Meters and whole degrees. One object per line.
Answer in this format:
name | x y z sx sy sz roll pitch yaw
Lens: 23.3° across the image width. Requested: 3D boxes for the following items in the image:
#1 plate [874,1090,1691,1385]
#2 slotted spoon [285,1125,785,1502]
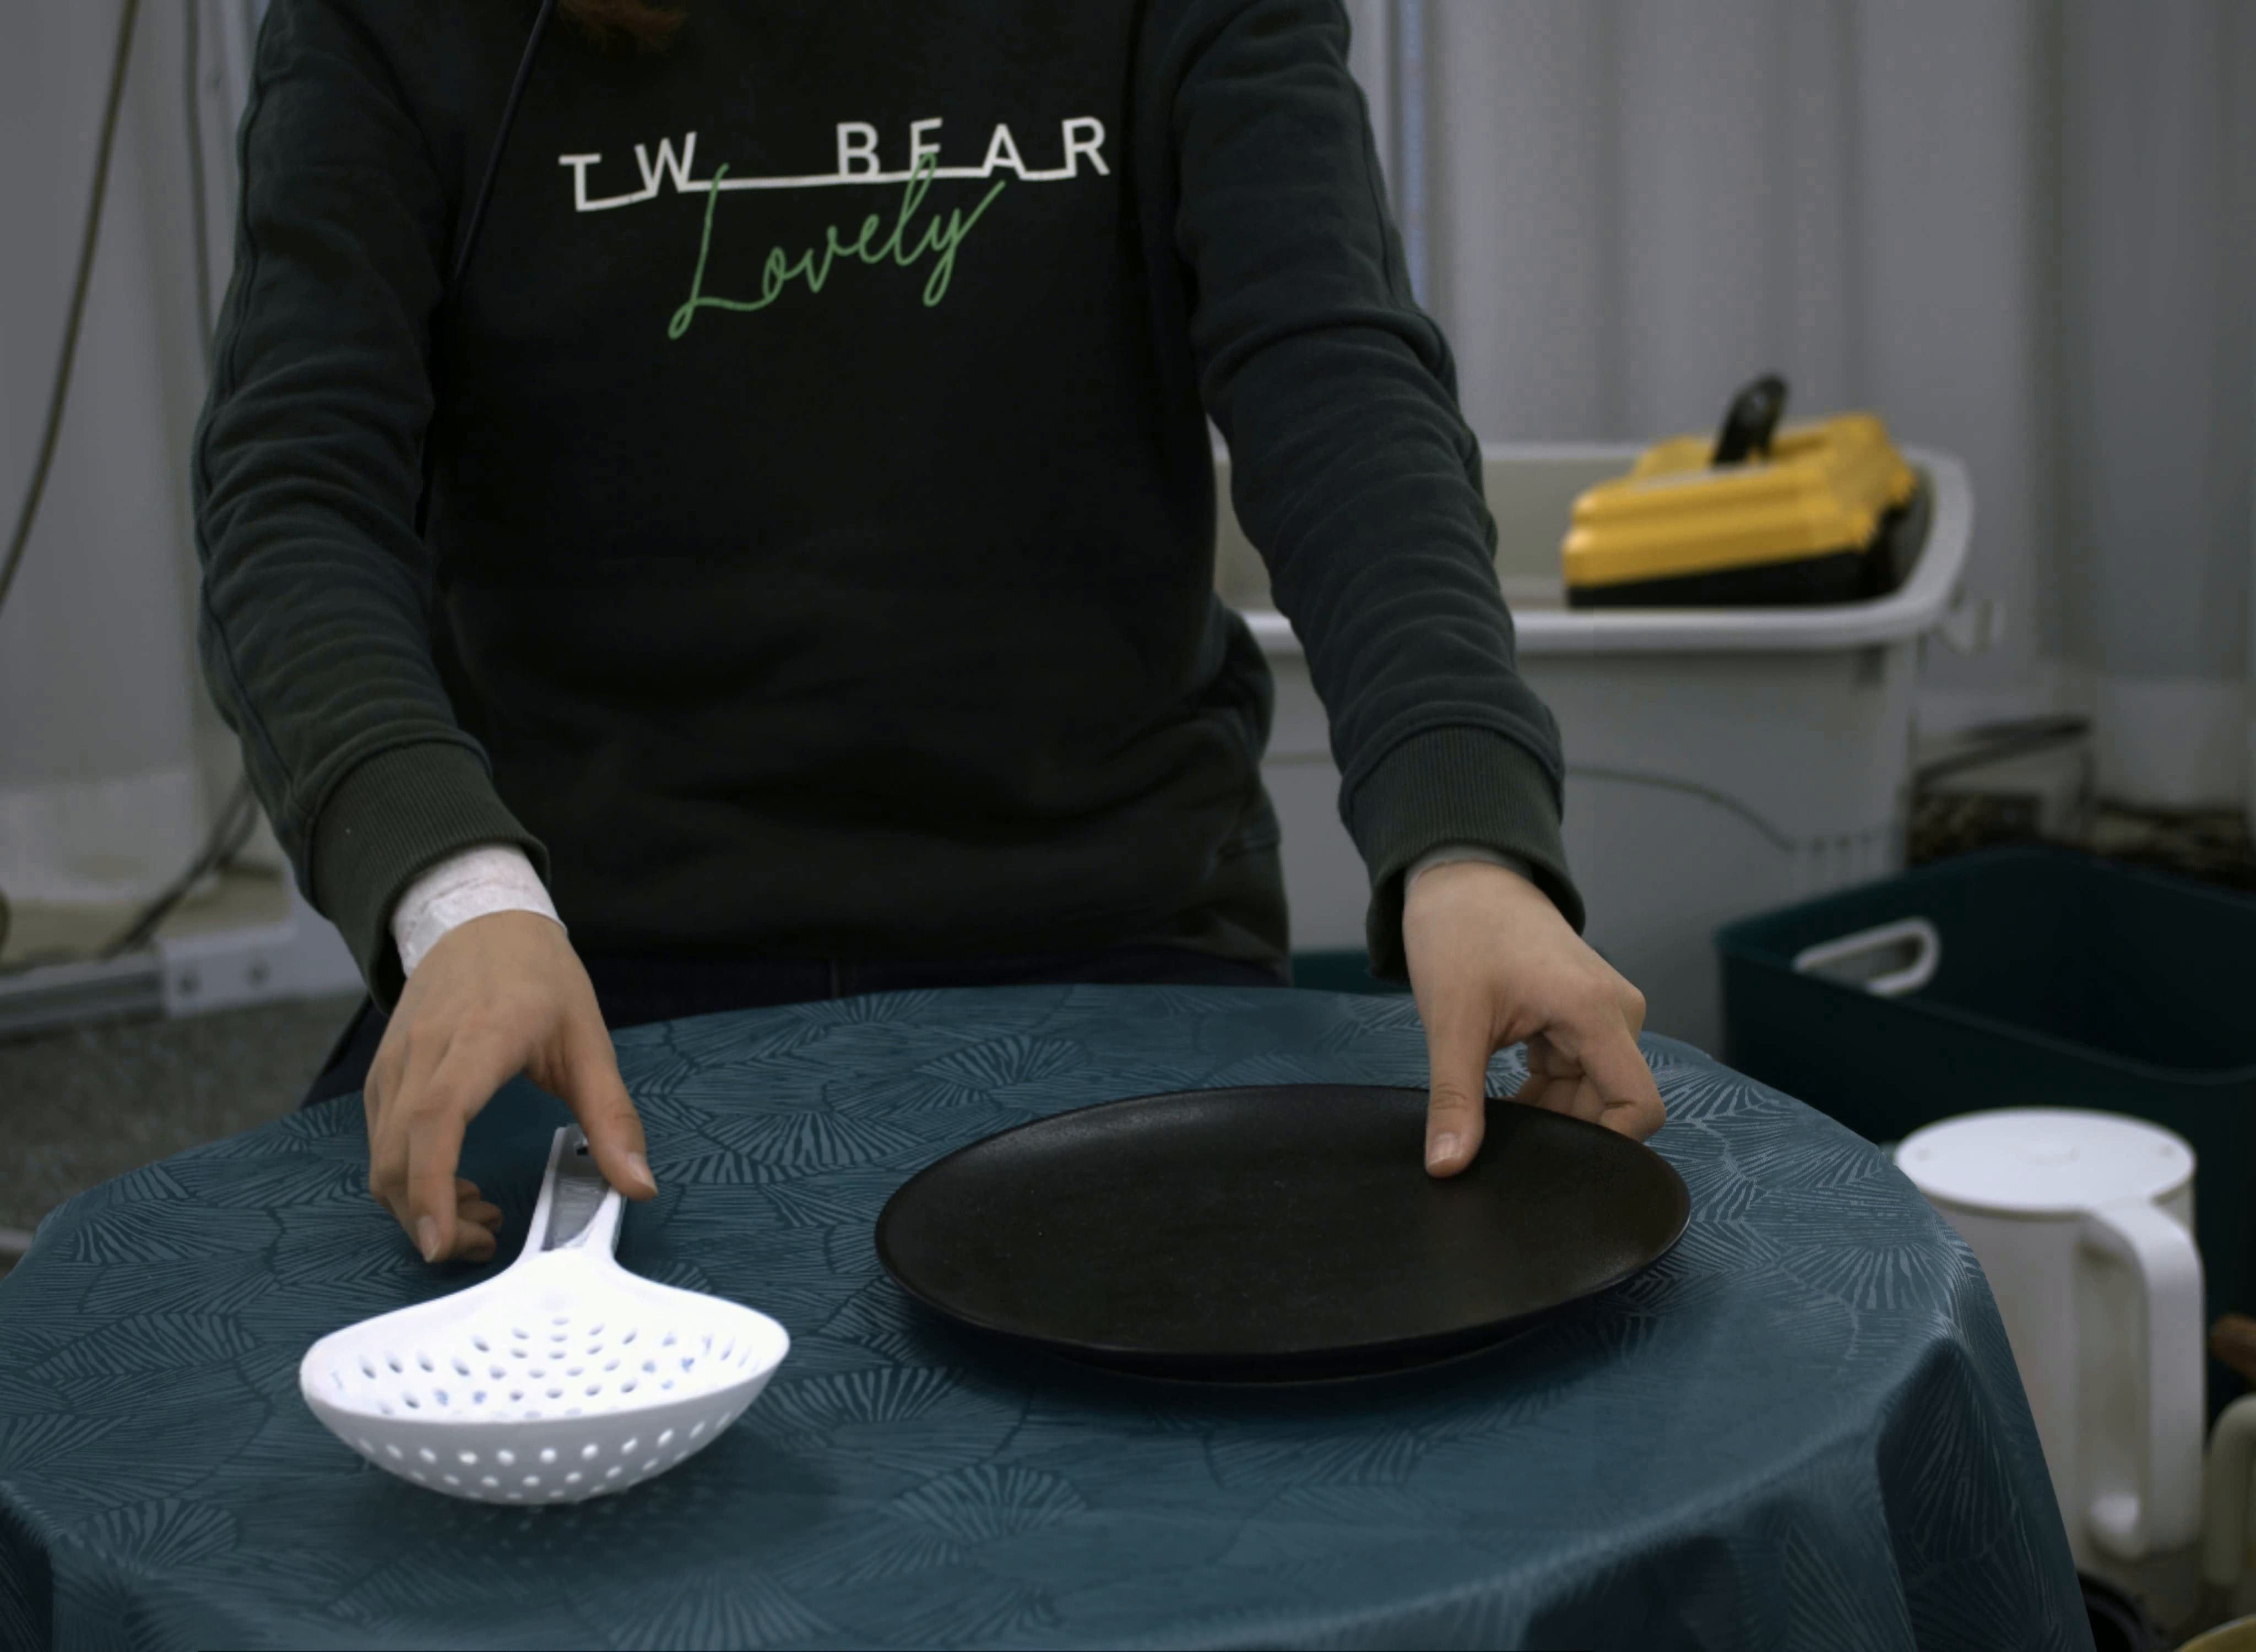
plate | 0.046 0.124 1.625 0.243 0.023 0.246 -3 15 0
slotted spoon | -0.164 0.132 1.592 0.135 0.045 0.352 -1 14 -2
